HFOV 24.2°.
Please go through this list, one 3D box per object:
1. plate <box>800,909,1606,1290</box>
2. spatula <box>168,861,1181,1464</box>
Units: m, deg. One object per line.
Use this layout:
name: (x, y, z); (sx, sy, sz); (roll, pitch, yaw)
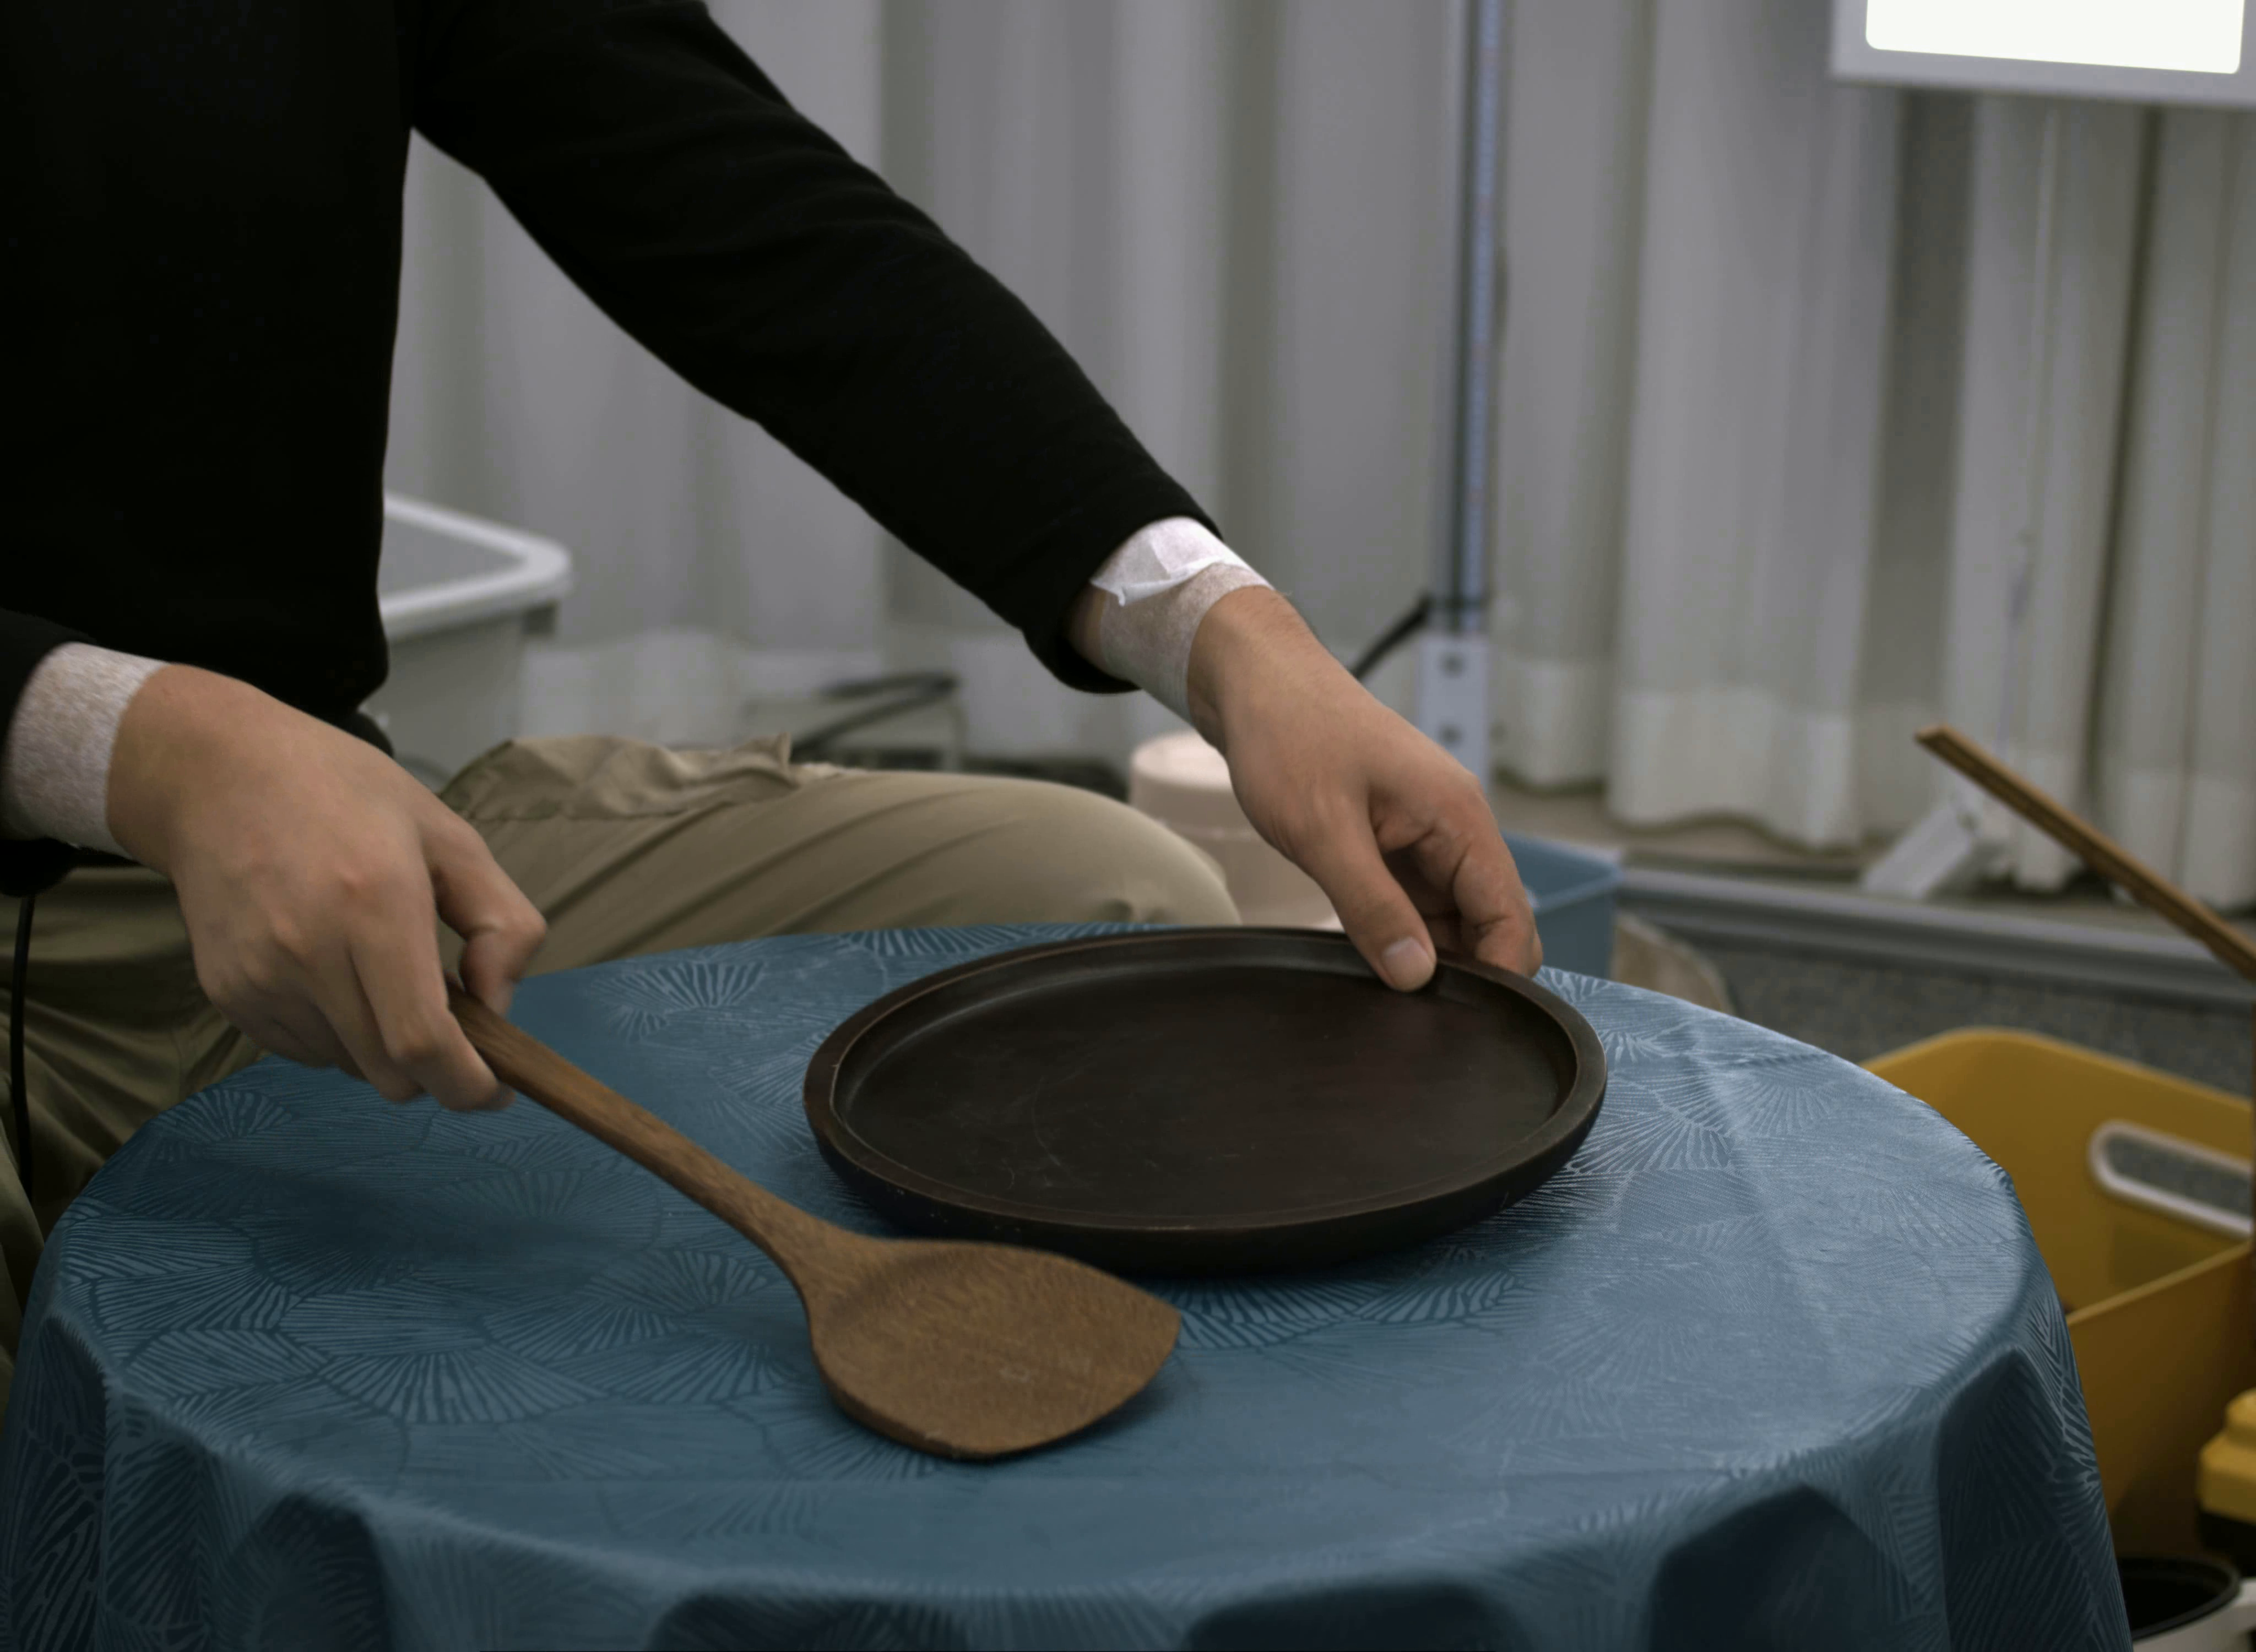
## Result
plate: (0.024, 0.086, 1.648); (0.254, 0.029, 0.253); (-1, 21, 1)
spatula: (-0.149, 0.087, 1.527); (0.381, 0.016, 0.096); (28, 37, 31)
